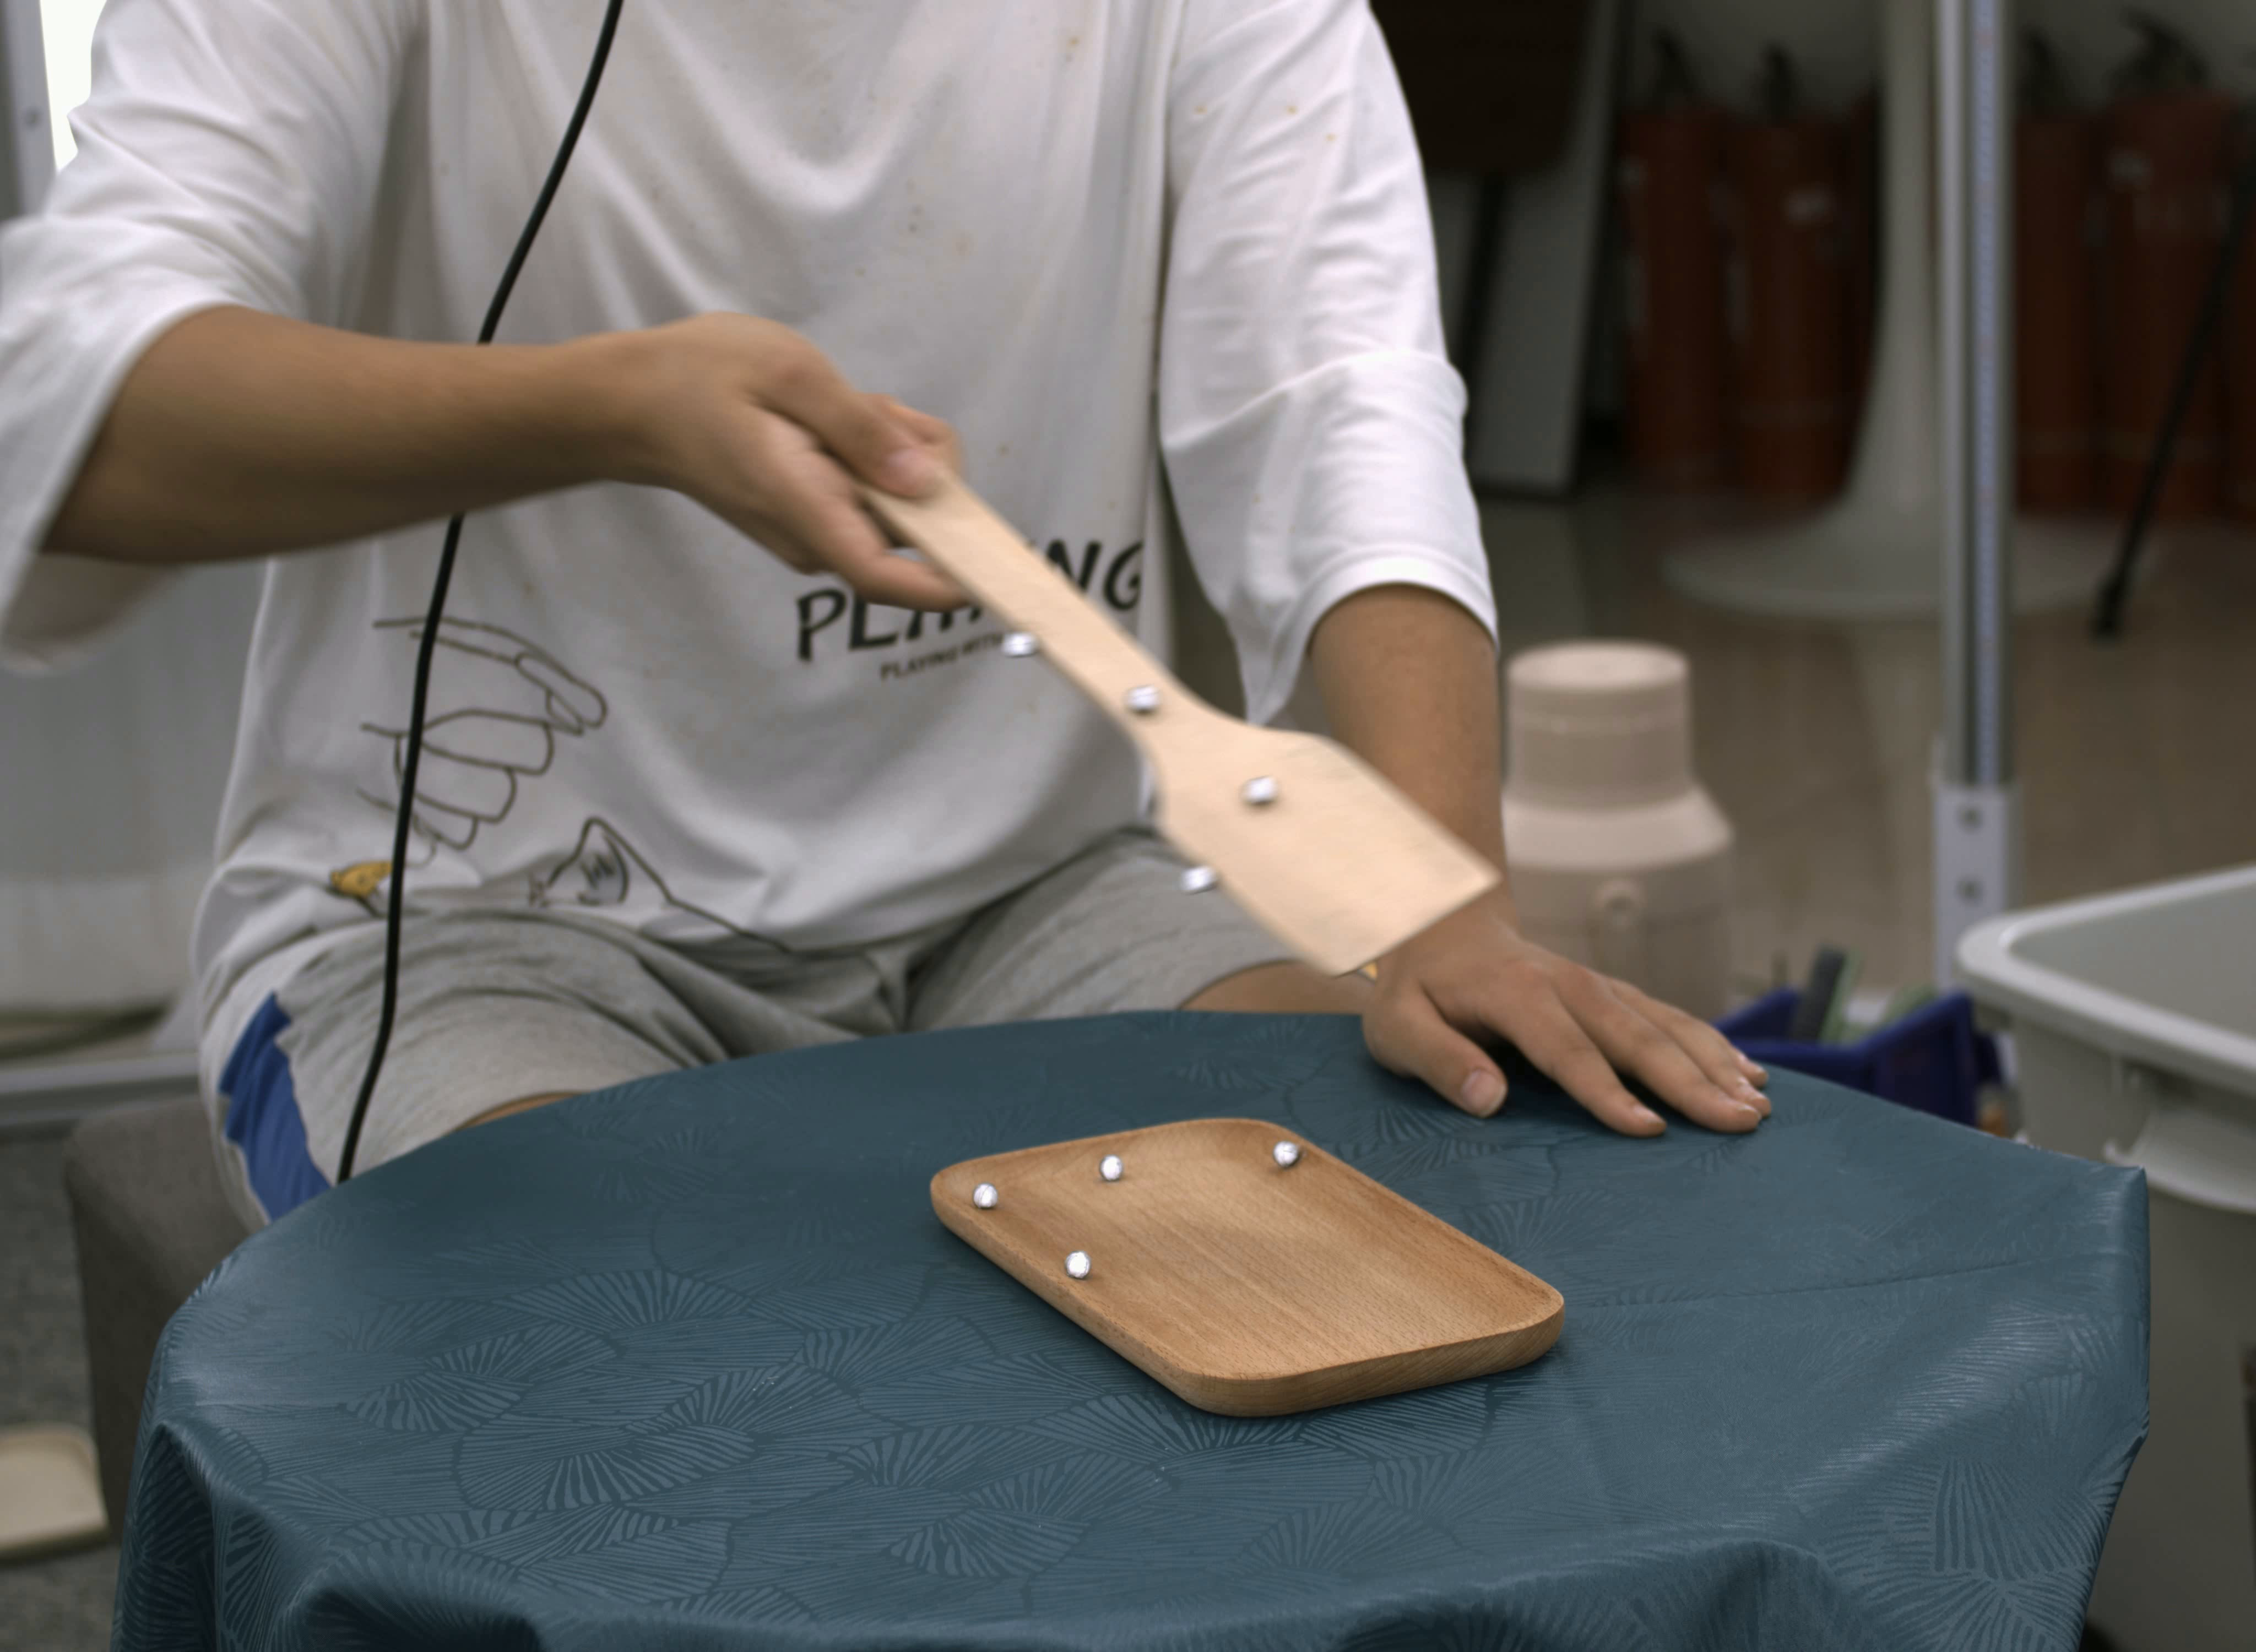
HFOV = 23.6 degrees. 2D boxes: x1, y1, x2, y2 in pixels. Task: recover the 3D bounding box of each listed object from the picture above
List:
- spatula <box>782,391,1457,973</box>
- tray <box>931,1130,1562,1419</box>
[{"bbox_3d":[-0.015,-0.053,1.731,0.071,0.011,0.296,-29,56,-29],"label":"spatula"},{"bbox_3d":[0.033,0.136,1.671,0.128,0.023,0.253,-11,15,-19],"label":"tray"}]
